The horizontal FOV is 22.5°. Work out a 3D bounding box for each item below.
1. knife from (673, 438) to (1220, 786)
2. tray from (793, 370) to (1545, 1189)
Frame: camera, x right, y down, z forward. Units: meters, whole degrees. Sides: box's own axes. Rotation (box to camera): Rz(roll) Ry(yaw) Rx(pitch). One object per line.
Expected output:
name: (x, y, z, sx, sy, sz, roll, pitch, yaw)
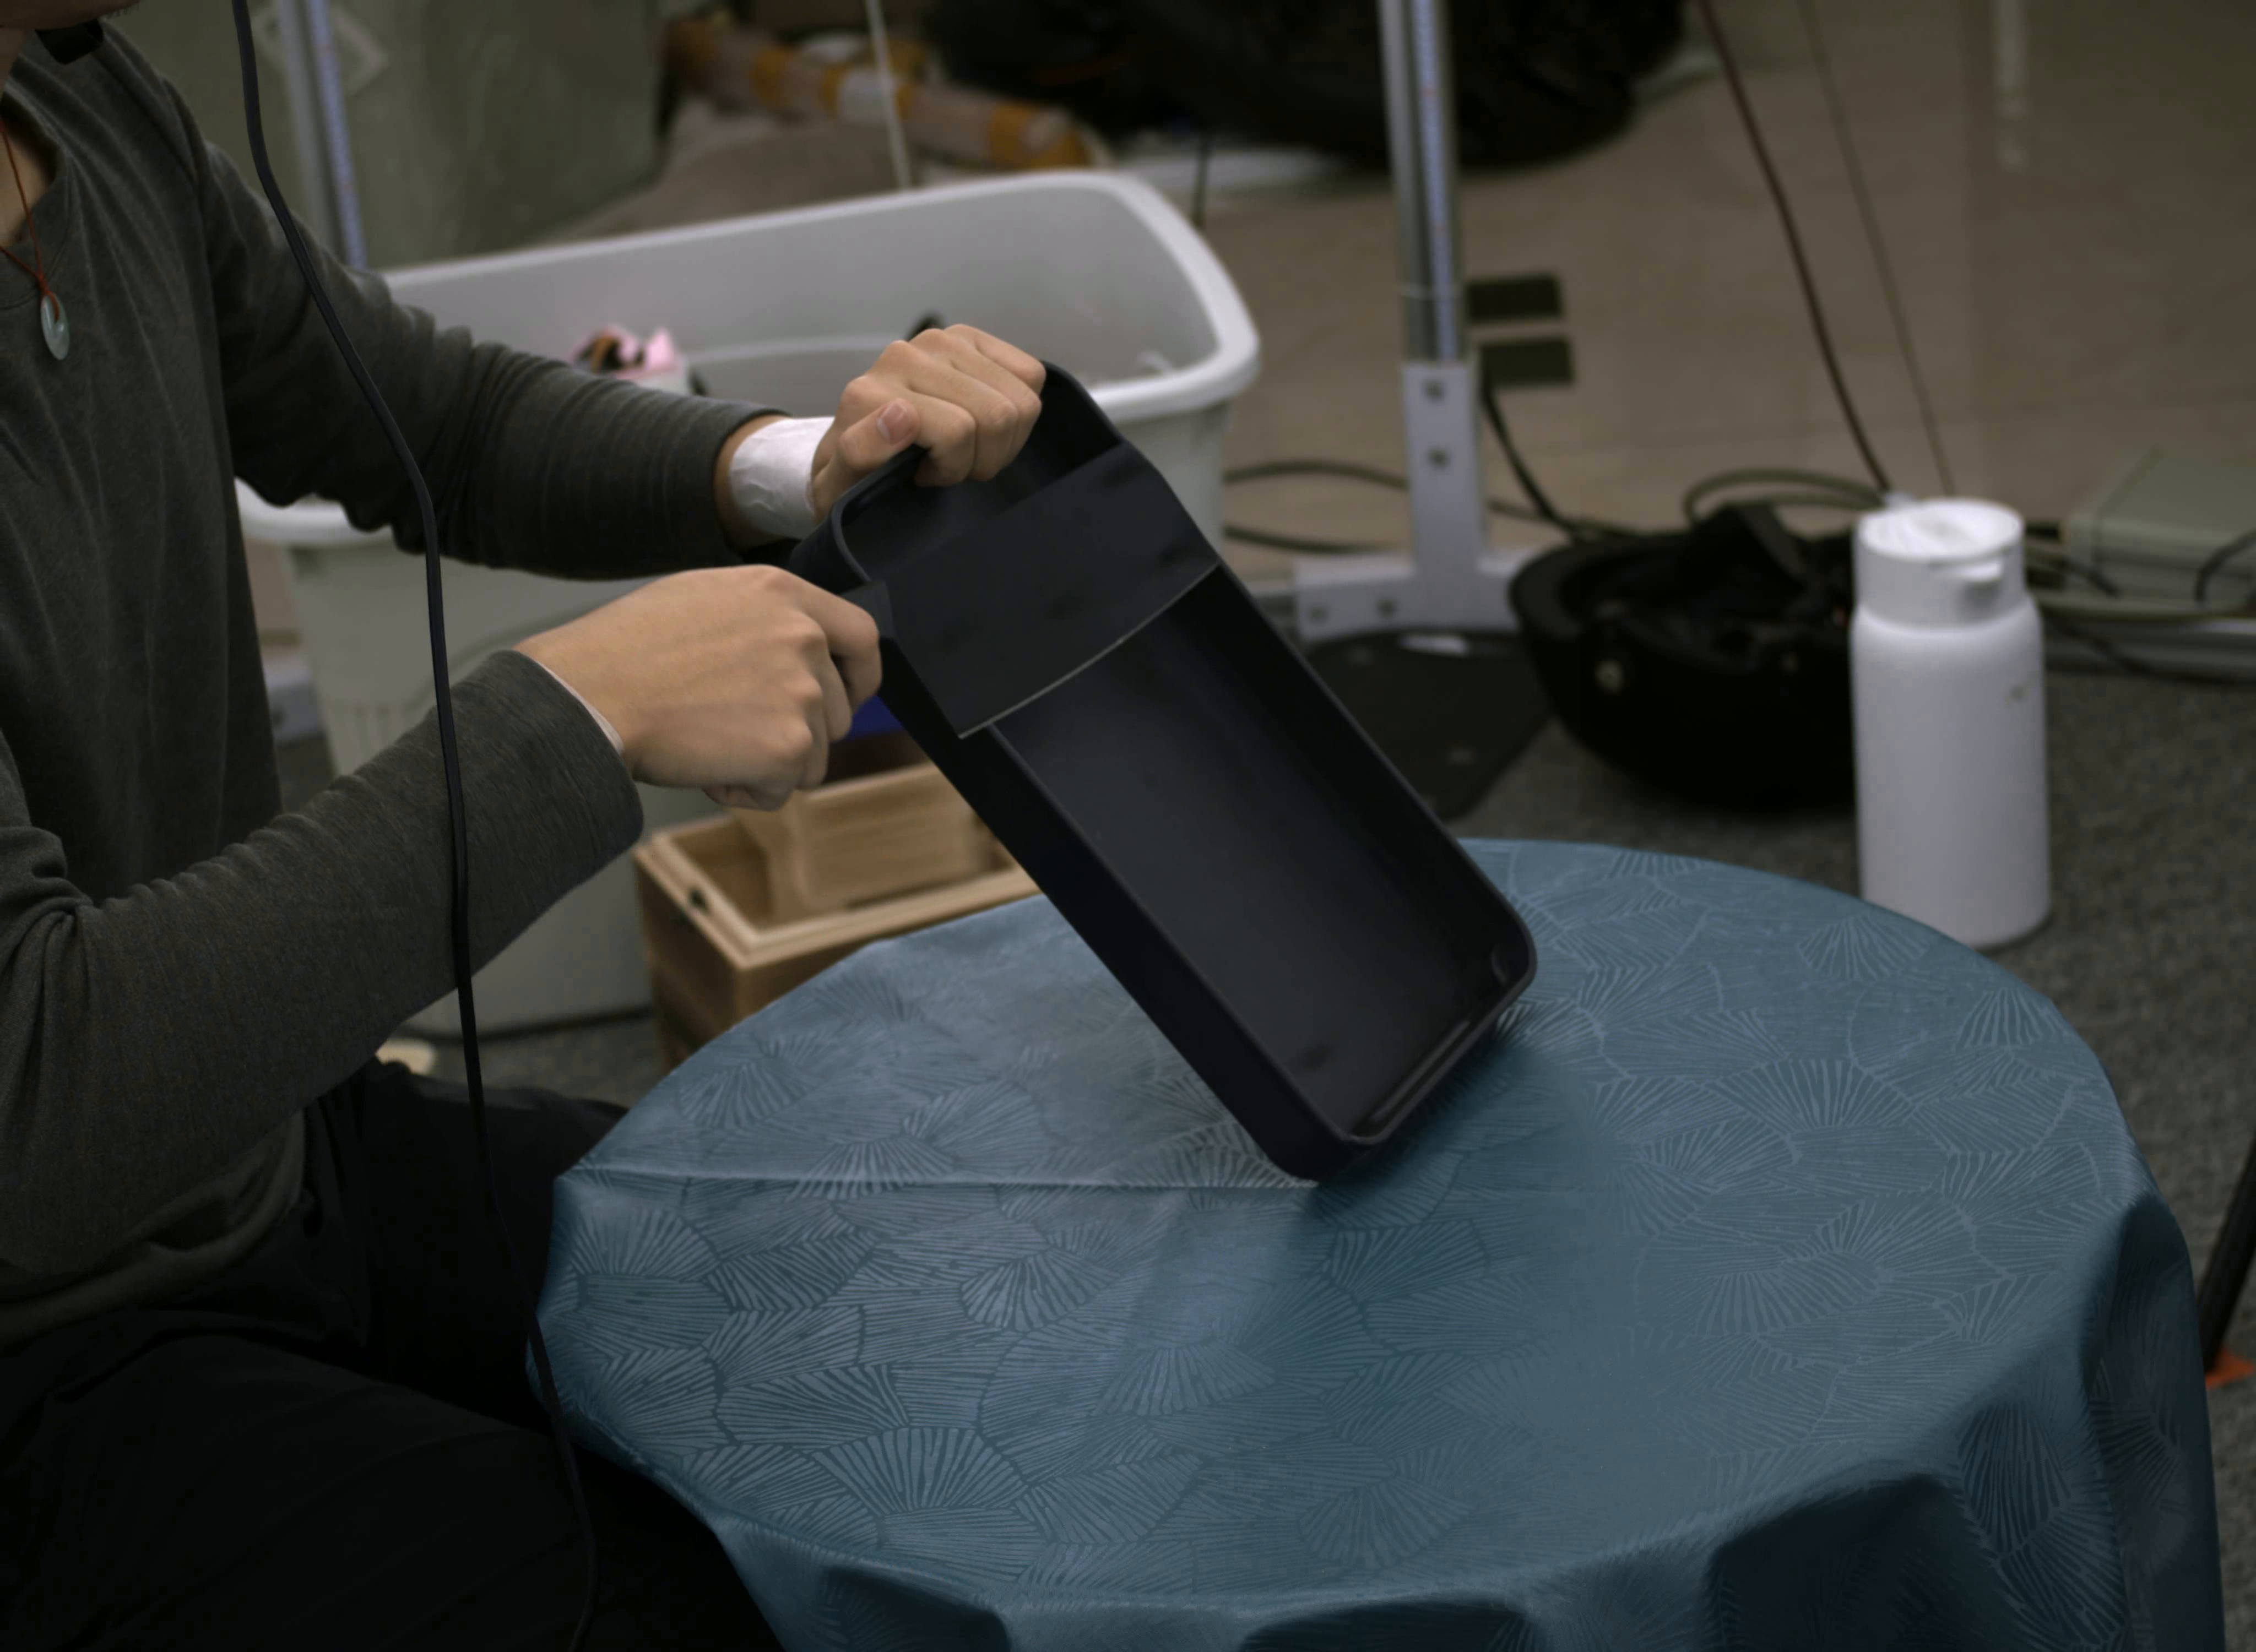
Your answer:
knife: (-0.065, -0.074, 2.106, 0.299, 0.081, 0.021, -28, -5, -47)
tray: (0.019, -0.020, 2.180, 0.037, 0.319, 0.182, -37, 6, 38)
